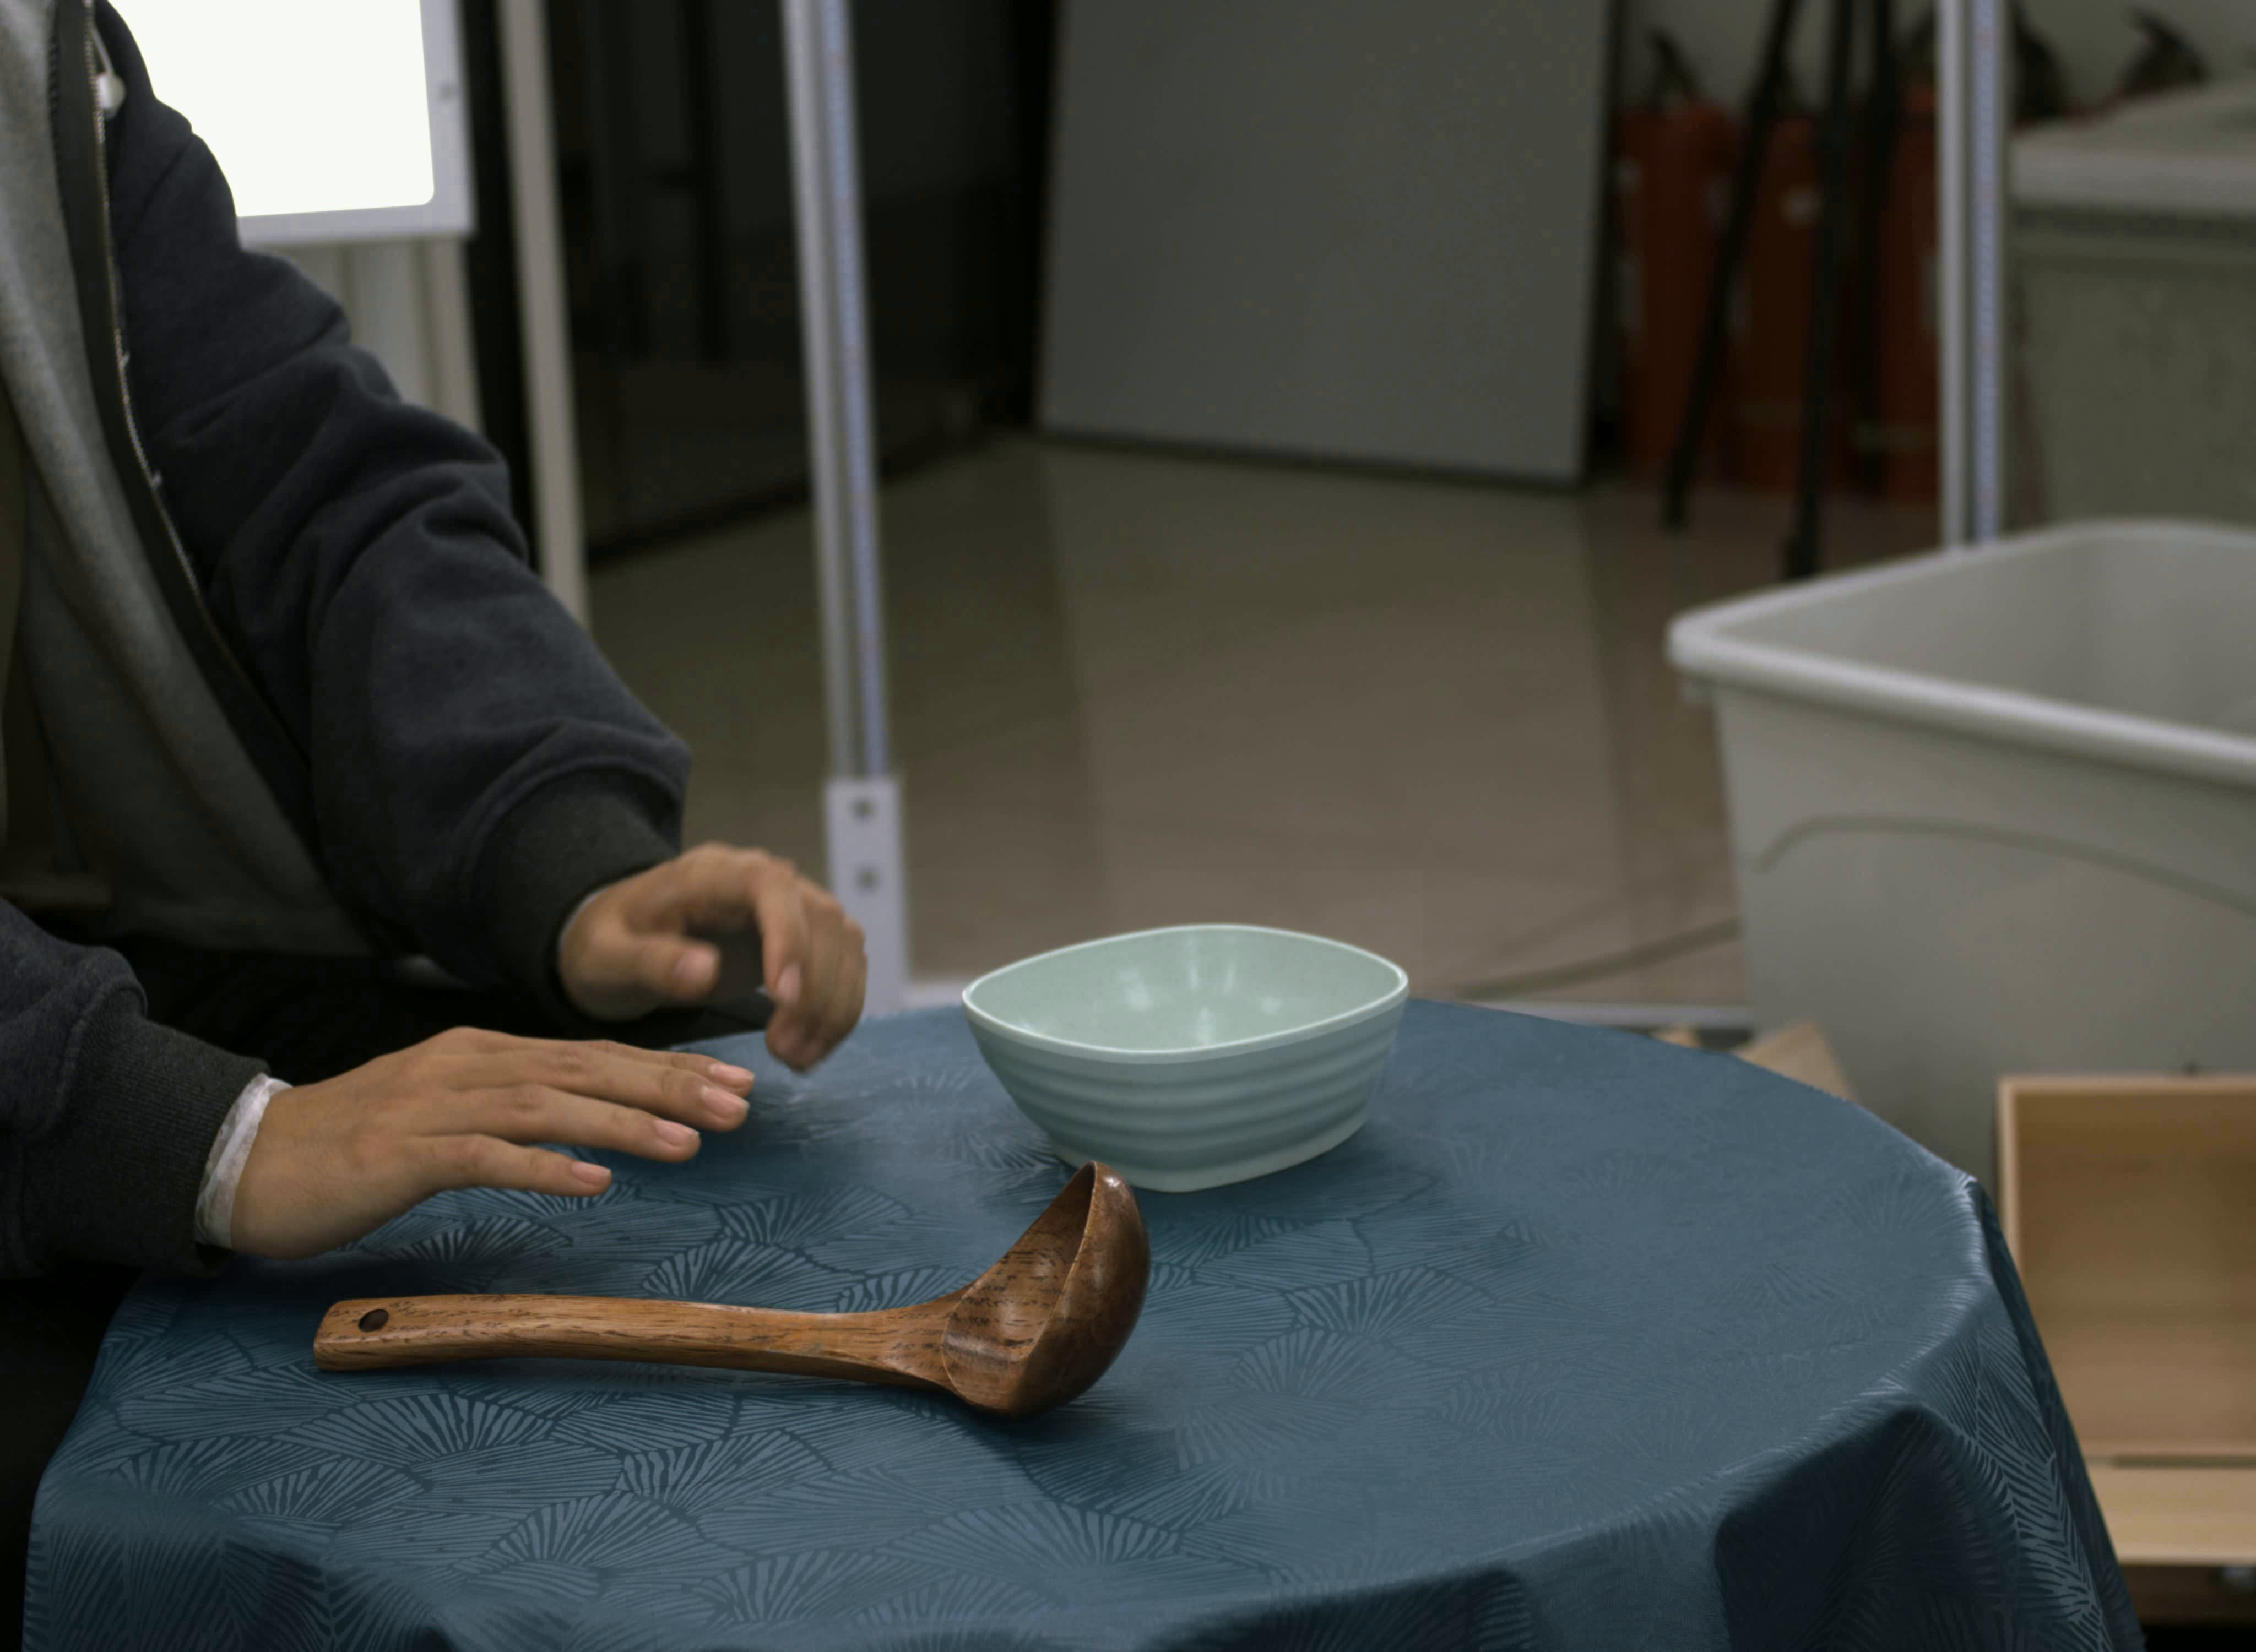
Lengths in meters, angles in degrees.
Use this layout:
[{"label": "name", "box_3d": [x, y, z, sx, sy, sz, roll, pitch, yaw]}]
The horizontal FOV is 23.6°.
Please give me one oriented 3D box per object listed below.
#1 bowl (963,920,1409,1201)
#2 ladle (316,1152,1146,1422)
[{"label": "bowl", "box_3d": [0.020, 0.081, 1.804, 0.149, 0.059, 0.152, -2, 16, 0]}, {"label": "ladle", "box_3d": [-0.123, 0.133, 1.596, 0.273, 0.077, 0.082, 2, 41, 18]}]
